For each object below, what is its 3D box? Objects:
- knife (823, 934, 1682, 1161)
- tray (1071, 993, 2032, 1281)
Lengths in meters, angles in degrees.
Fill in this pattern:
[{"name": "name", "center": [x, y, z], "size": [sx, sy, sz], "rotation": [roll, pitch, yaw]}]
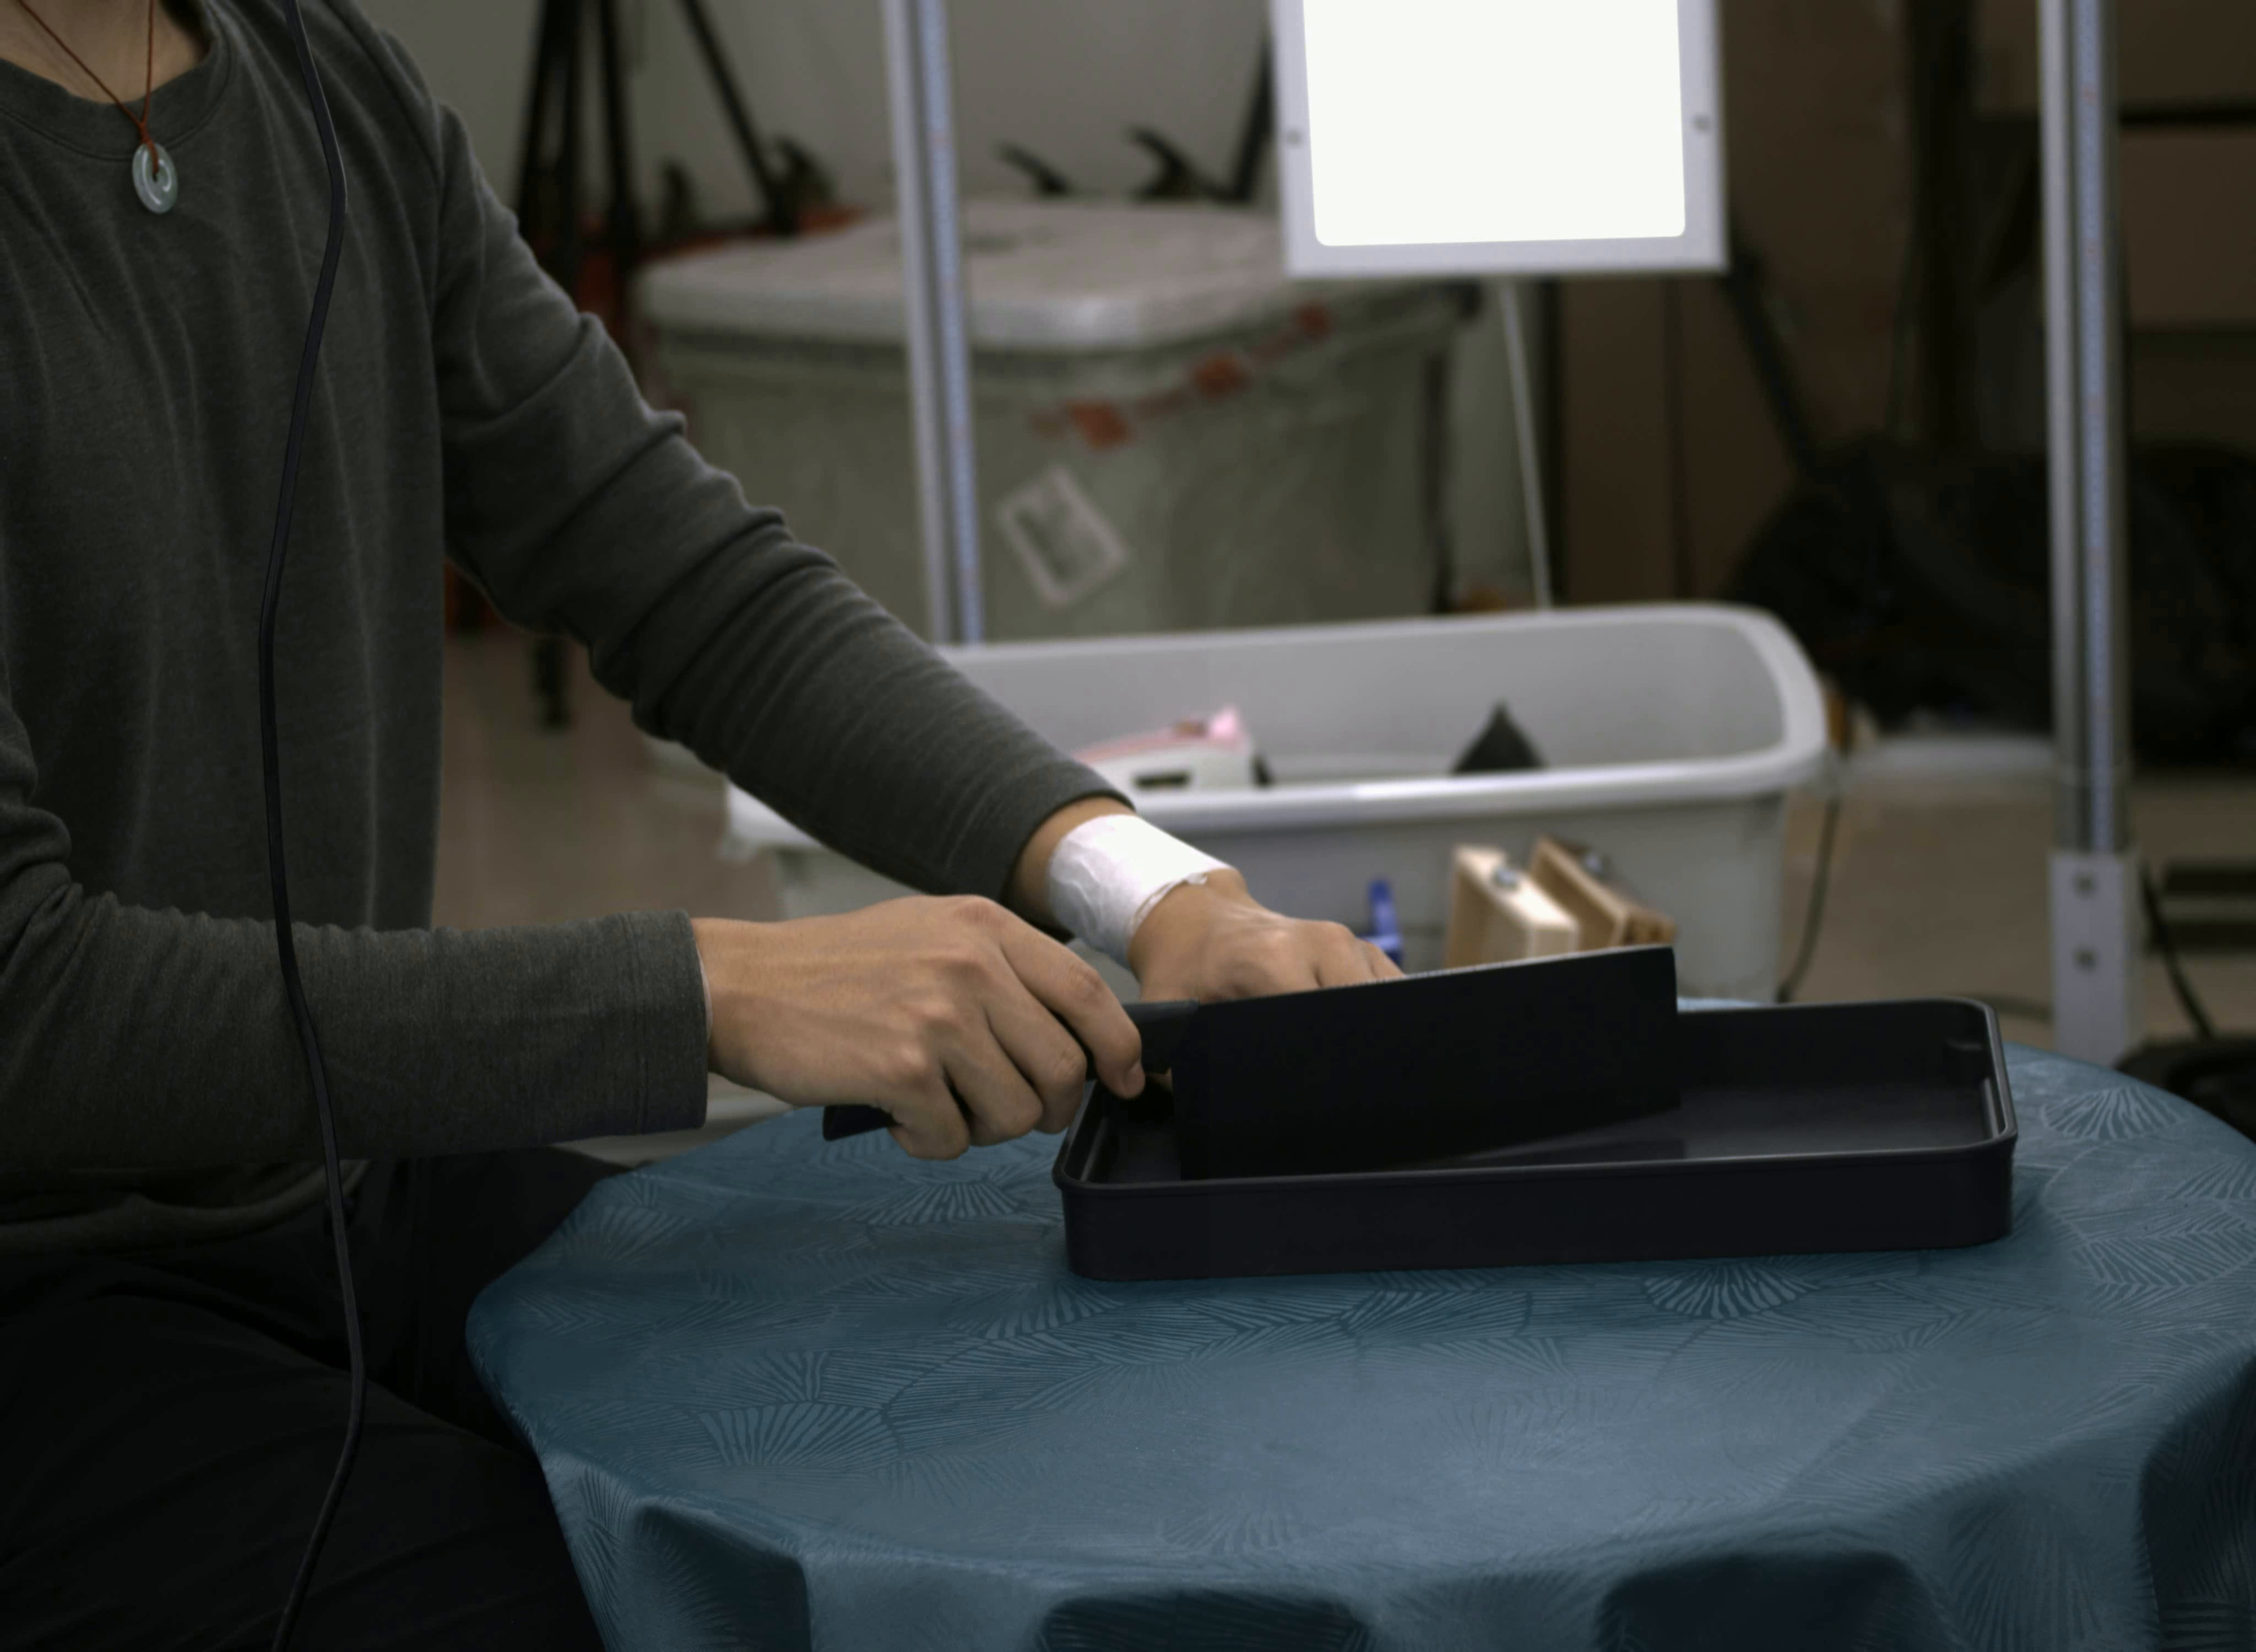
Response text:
[{"name": "knife", "center": [0.045, 0.083, 1.873], "size": [0.299, 0.081, 0.021], "rotation": [-3, 11, -9]}, {"name": "tray", "center": [0.145, 0.104, 1.865], "size": [0.319, 0.037, 0.183], "rotation": [-3, 14, 7]}]
